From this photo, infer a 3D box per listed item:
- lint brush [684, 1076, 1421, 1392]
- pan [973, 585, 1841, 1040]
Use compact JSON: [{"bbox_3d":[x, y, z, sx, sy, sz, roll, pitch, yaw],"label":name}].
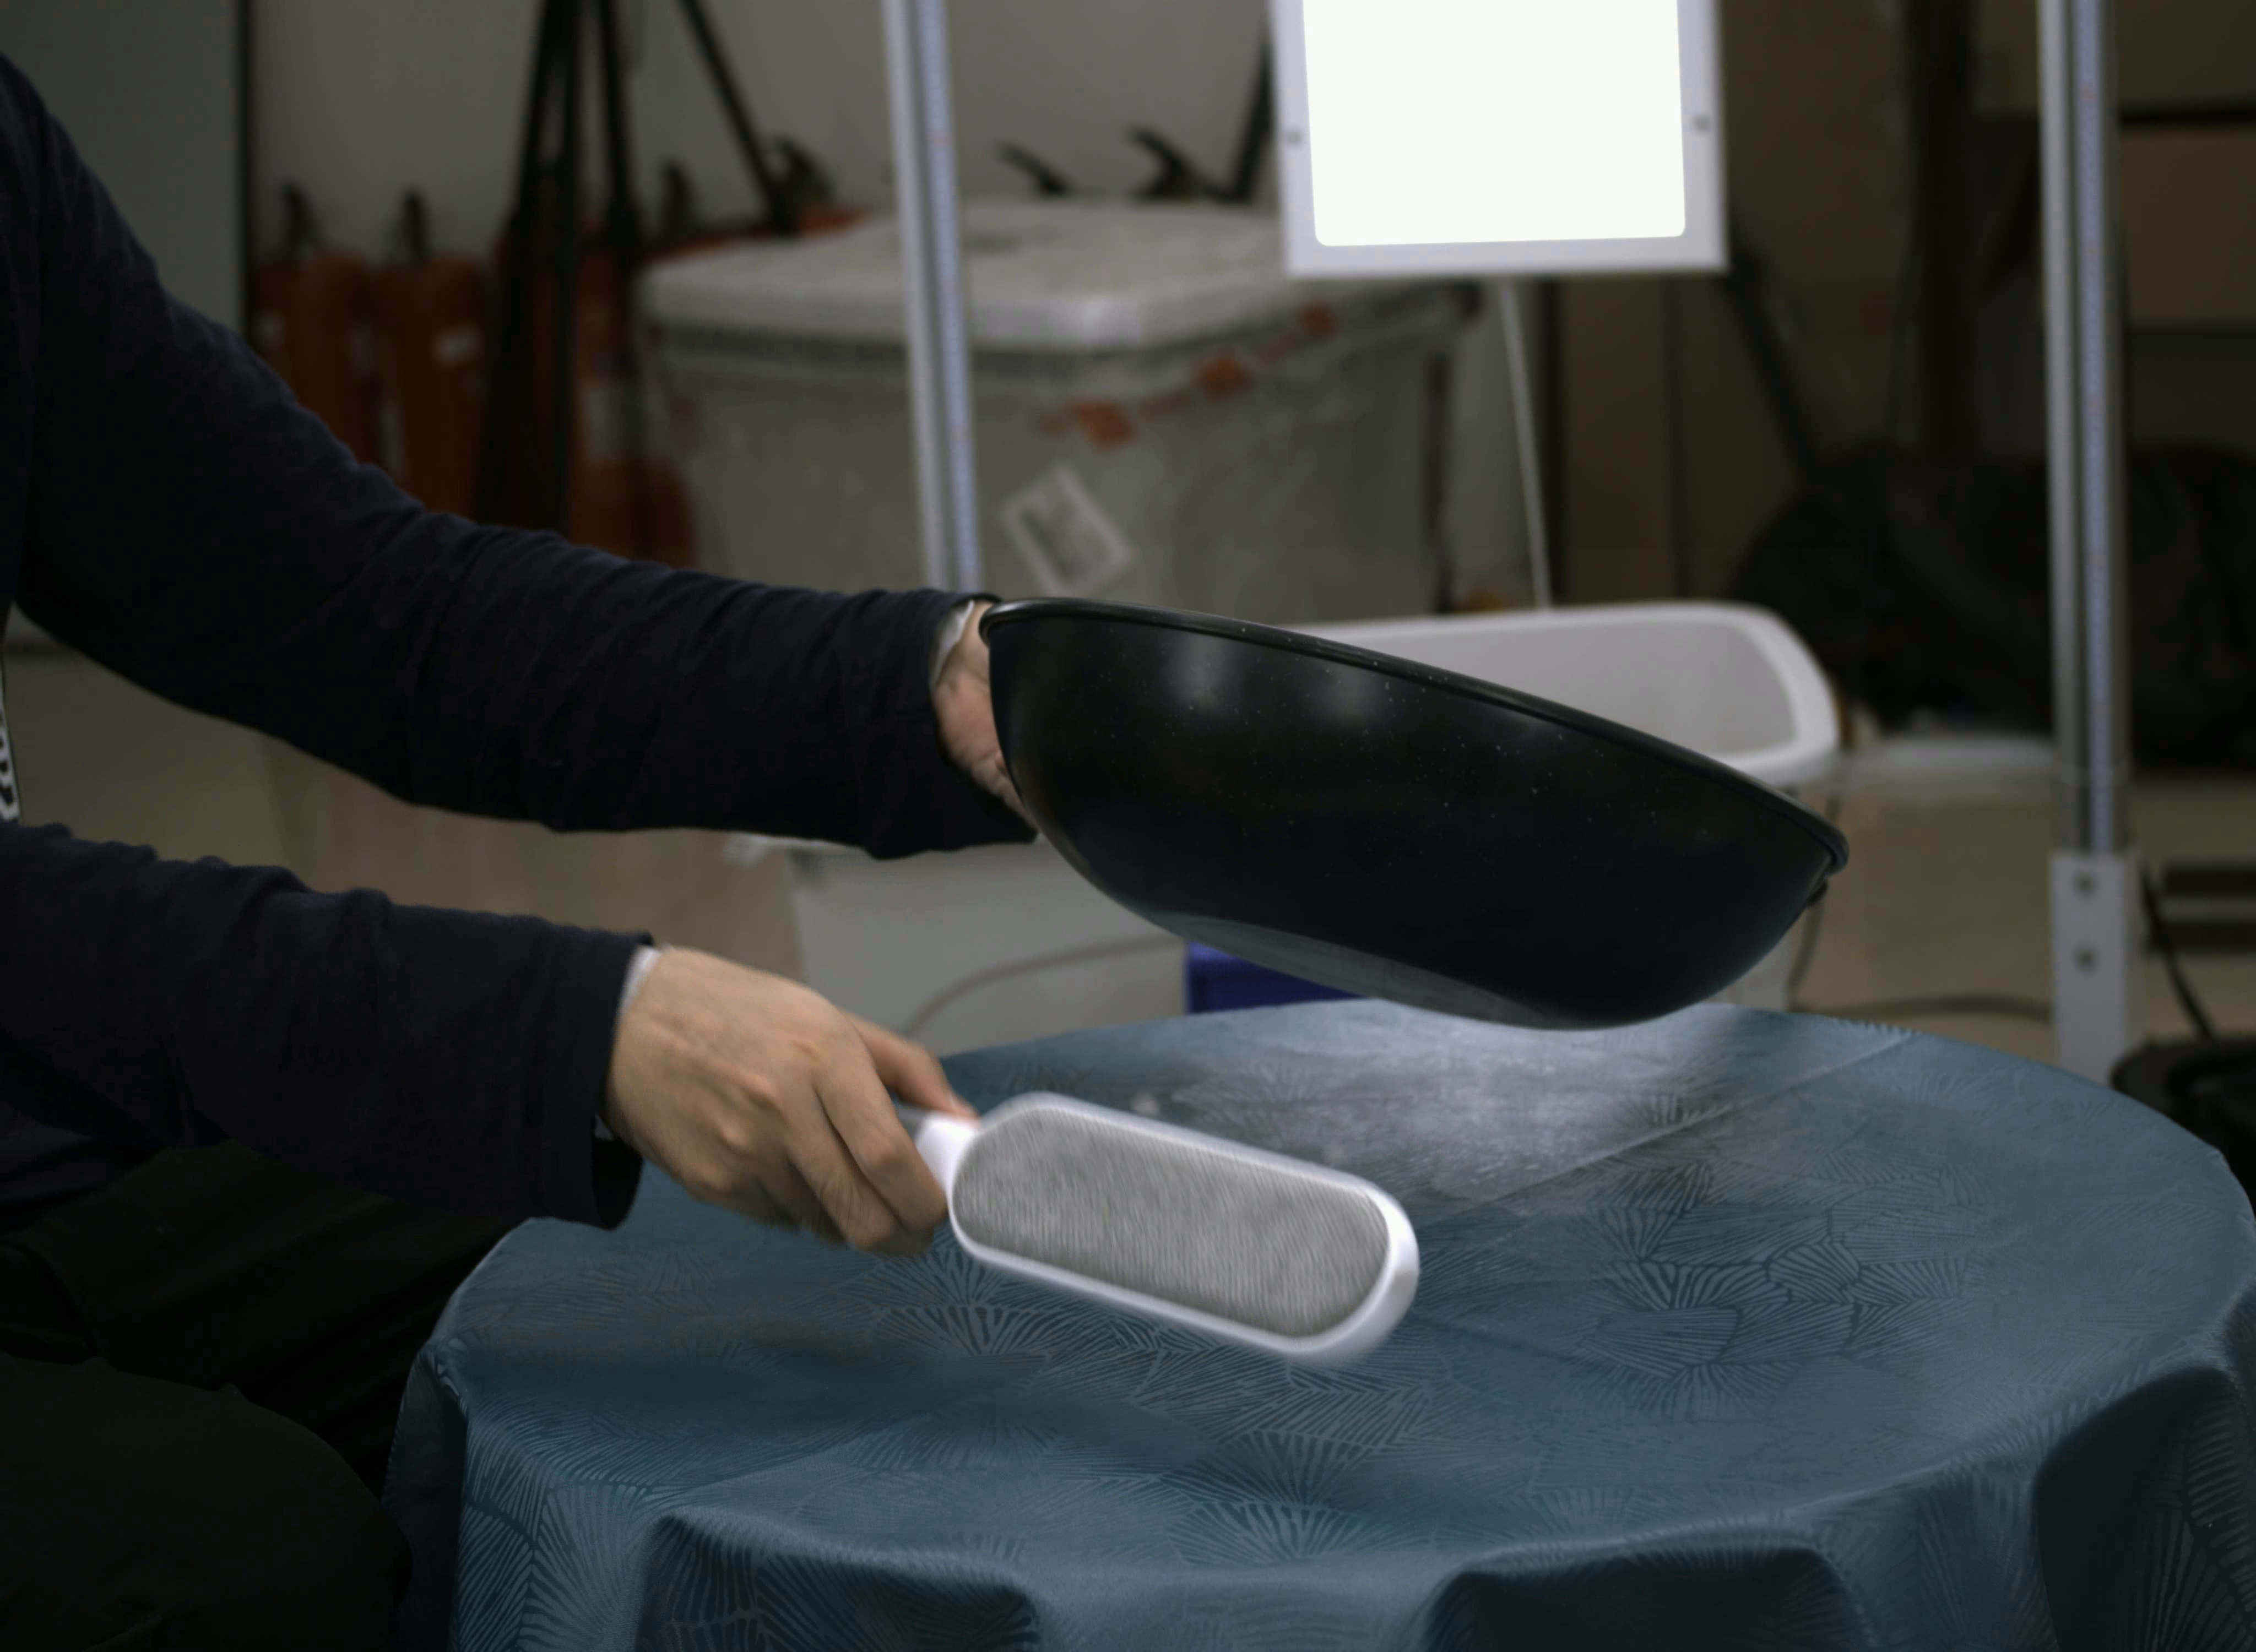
[{"bbox_3d":[-0.030,0.117,1.700,0.315,0.060,0.020,13,-18,44],"label":"lint brush"},{"bbox_3d":[0.129,0.017,1.943,0.316,0.111,0.467,13,-7,34],"label":"pan"}]
